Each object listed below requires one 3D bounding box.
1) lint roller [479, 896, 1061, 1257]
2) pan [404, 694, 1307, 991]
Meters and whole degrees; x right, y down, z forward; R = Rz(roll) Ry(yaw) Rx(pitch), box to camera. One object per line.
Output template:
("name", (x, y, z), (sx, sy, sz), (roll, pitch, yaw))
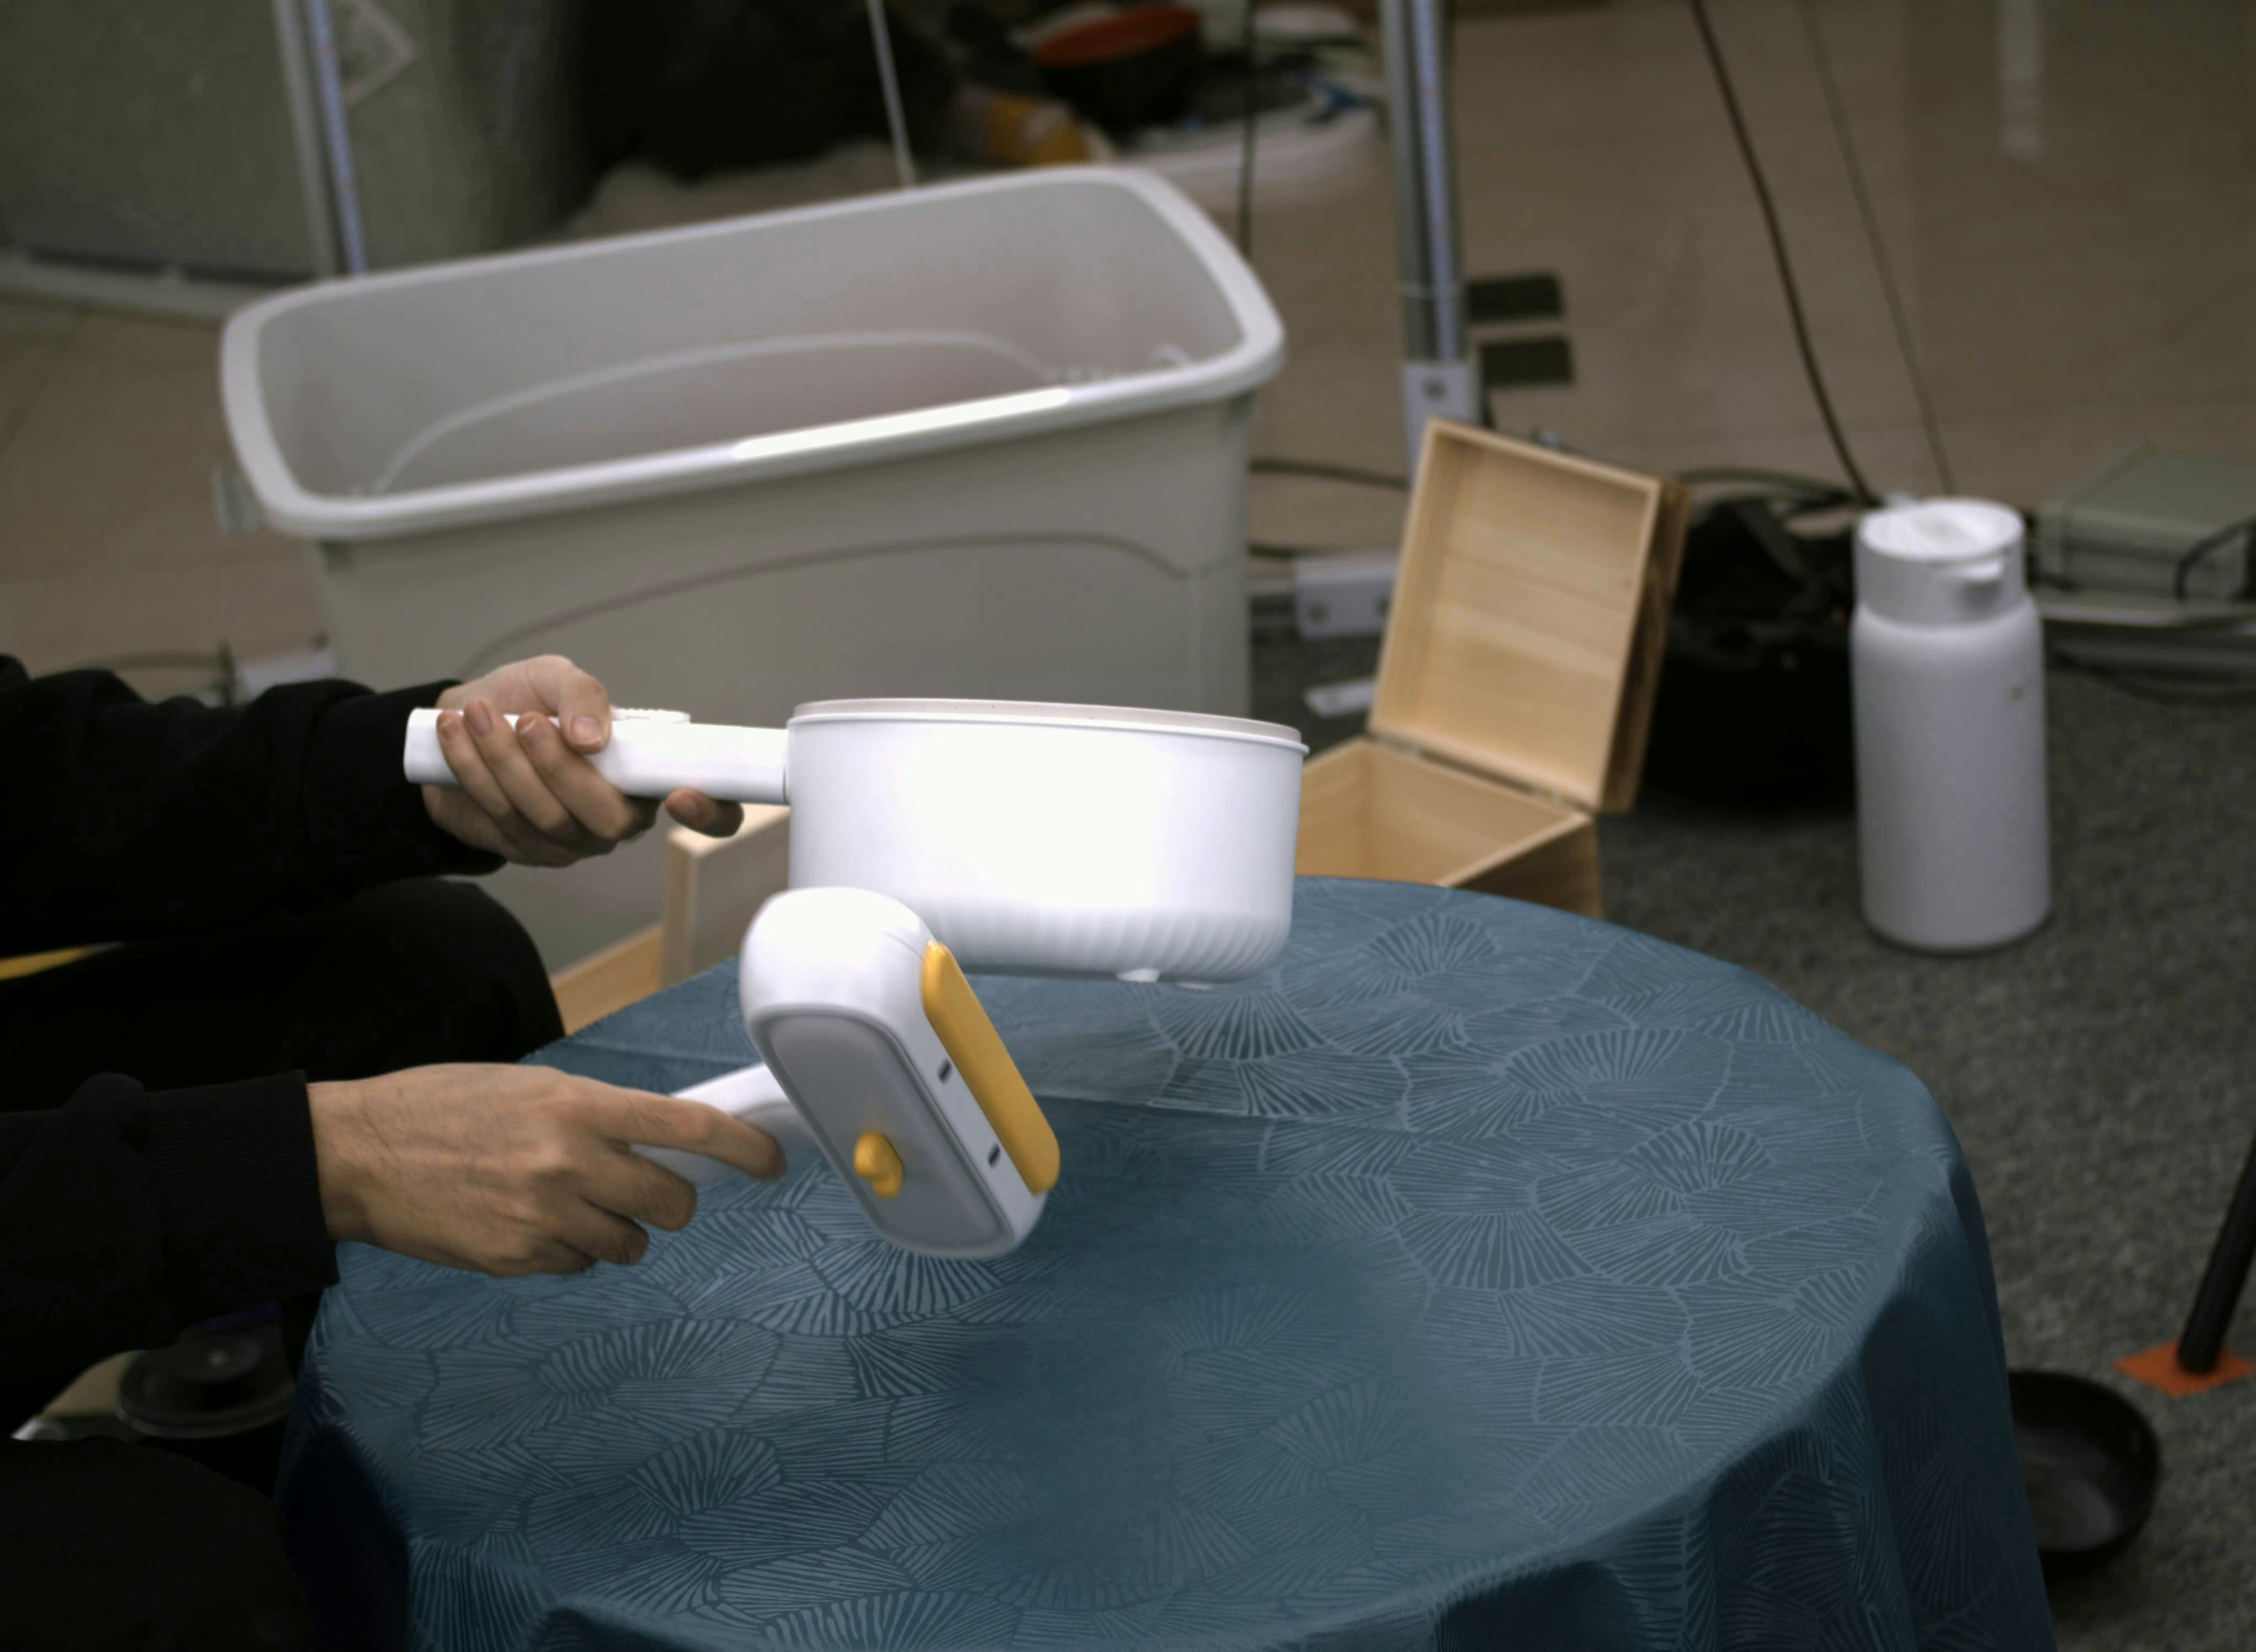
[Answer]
("lint roller", (-0.136, 0.103, 1.982), (0.192, 0.196, 0.073), (-9, 60, 17))
("pan", (-0.109, 0.006, 2.183), (0.354, 0.102, 0.201), (2, -3, 13))
